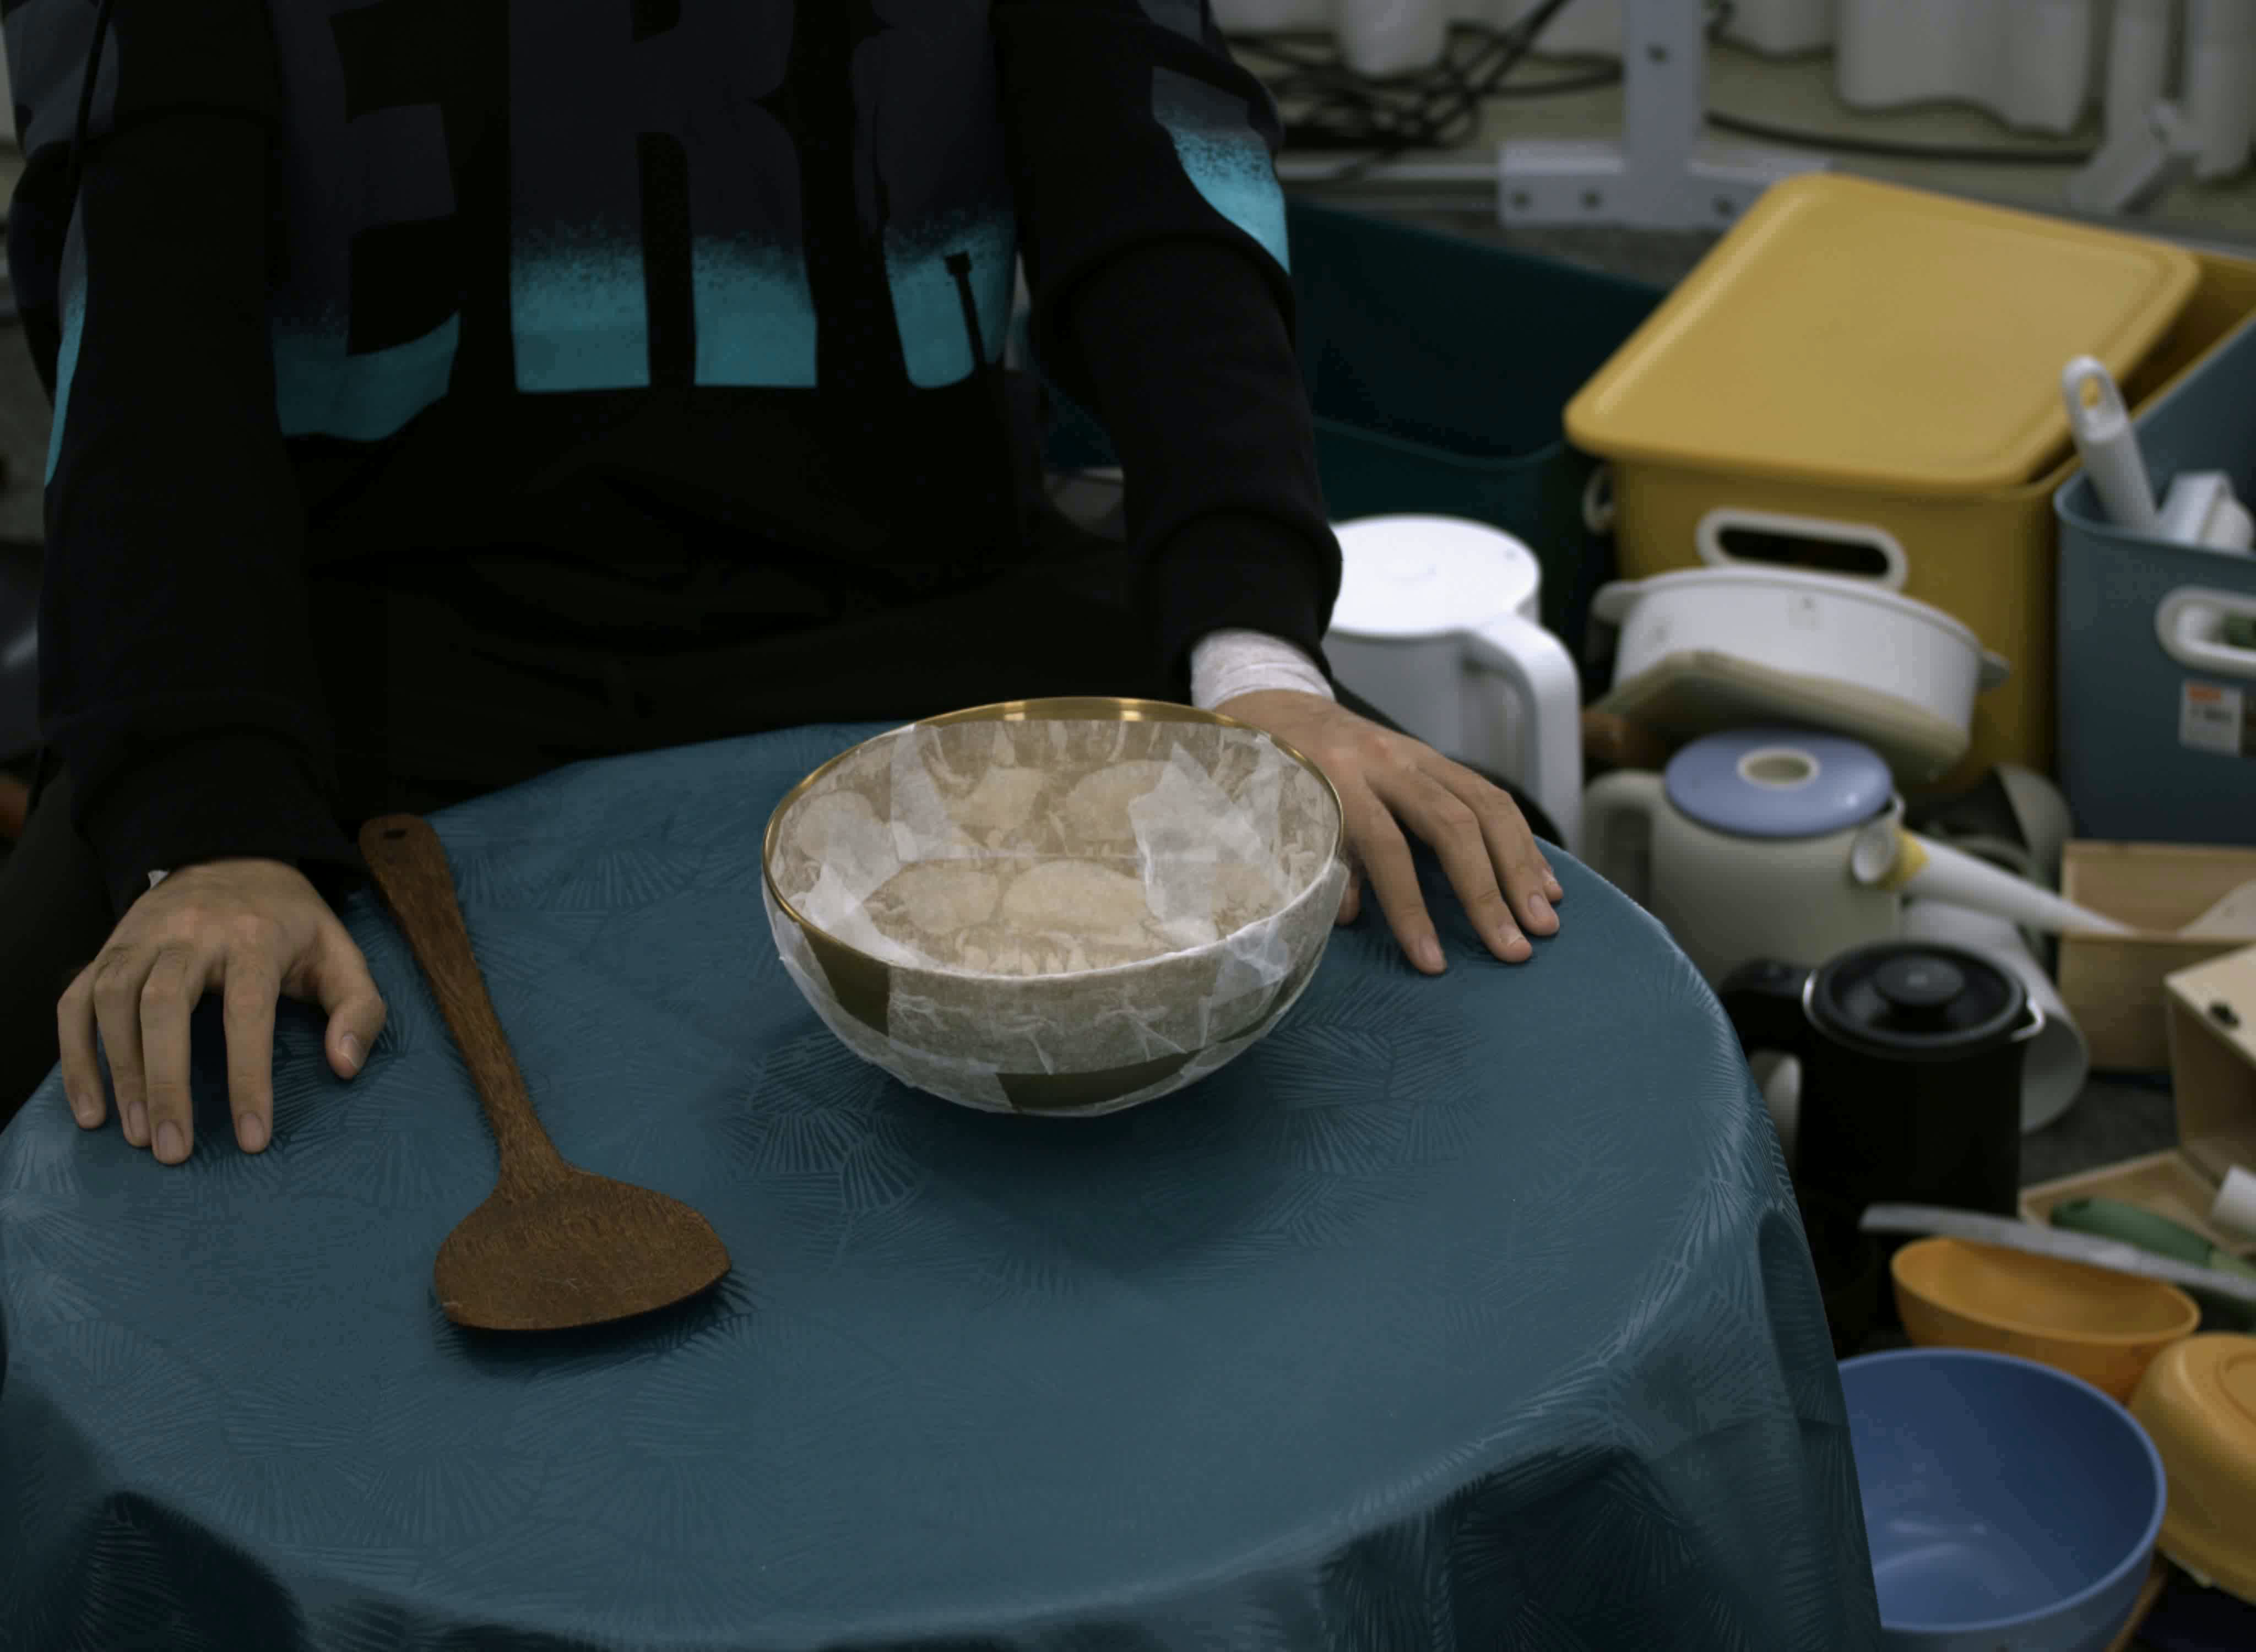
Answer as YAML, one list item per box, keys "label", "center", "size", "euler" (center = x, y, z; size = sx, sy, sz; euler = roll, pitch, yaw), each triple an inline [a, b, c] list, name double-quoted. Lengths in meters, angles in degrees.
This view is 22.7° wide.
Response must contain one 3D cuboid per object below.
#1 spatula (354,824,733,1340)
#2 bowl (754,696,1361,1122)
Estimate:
- label: "spatula"
  center: [-0.223, 0.080, 1.949]
  size: [0.096, 0.015, 0.389]
  euler: [-10, 28, -14]
- label: "bowl"
  center: [-0.021, 0.039, 1.923]
  size: [0.213, 0.093, 0.218]
  euler: [-4, 26, 2]
